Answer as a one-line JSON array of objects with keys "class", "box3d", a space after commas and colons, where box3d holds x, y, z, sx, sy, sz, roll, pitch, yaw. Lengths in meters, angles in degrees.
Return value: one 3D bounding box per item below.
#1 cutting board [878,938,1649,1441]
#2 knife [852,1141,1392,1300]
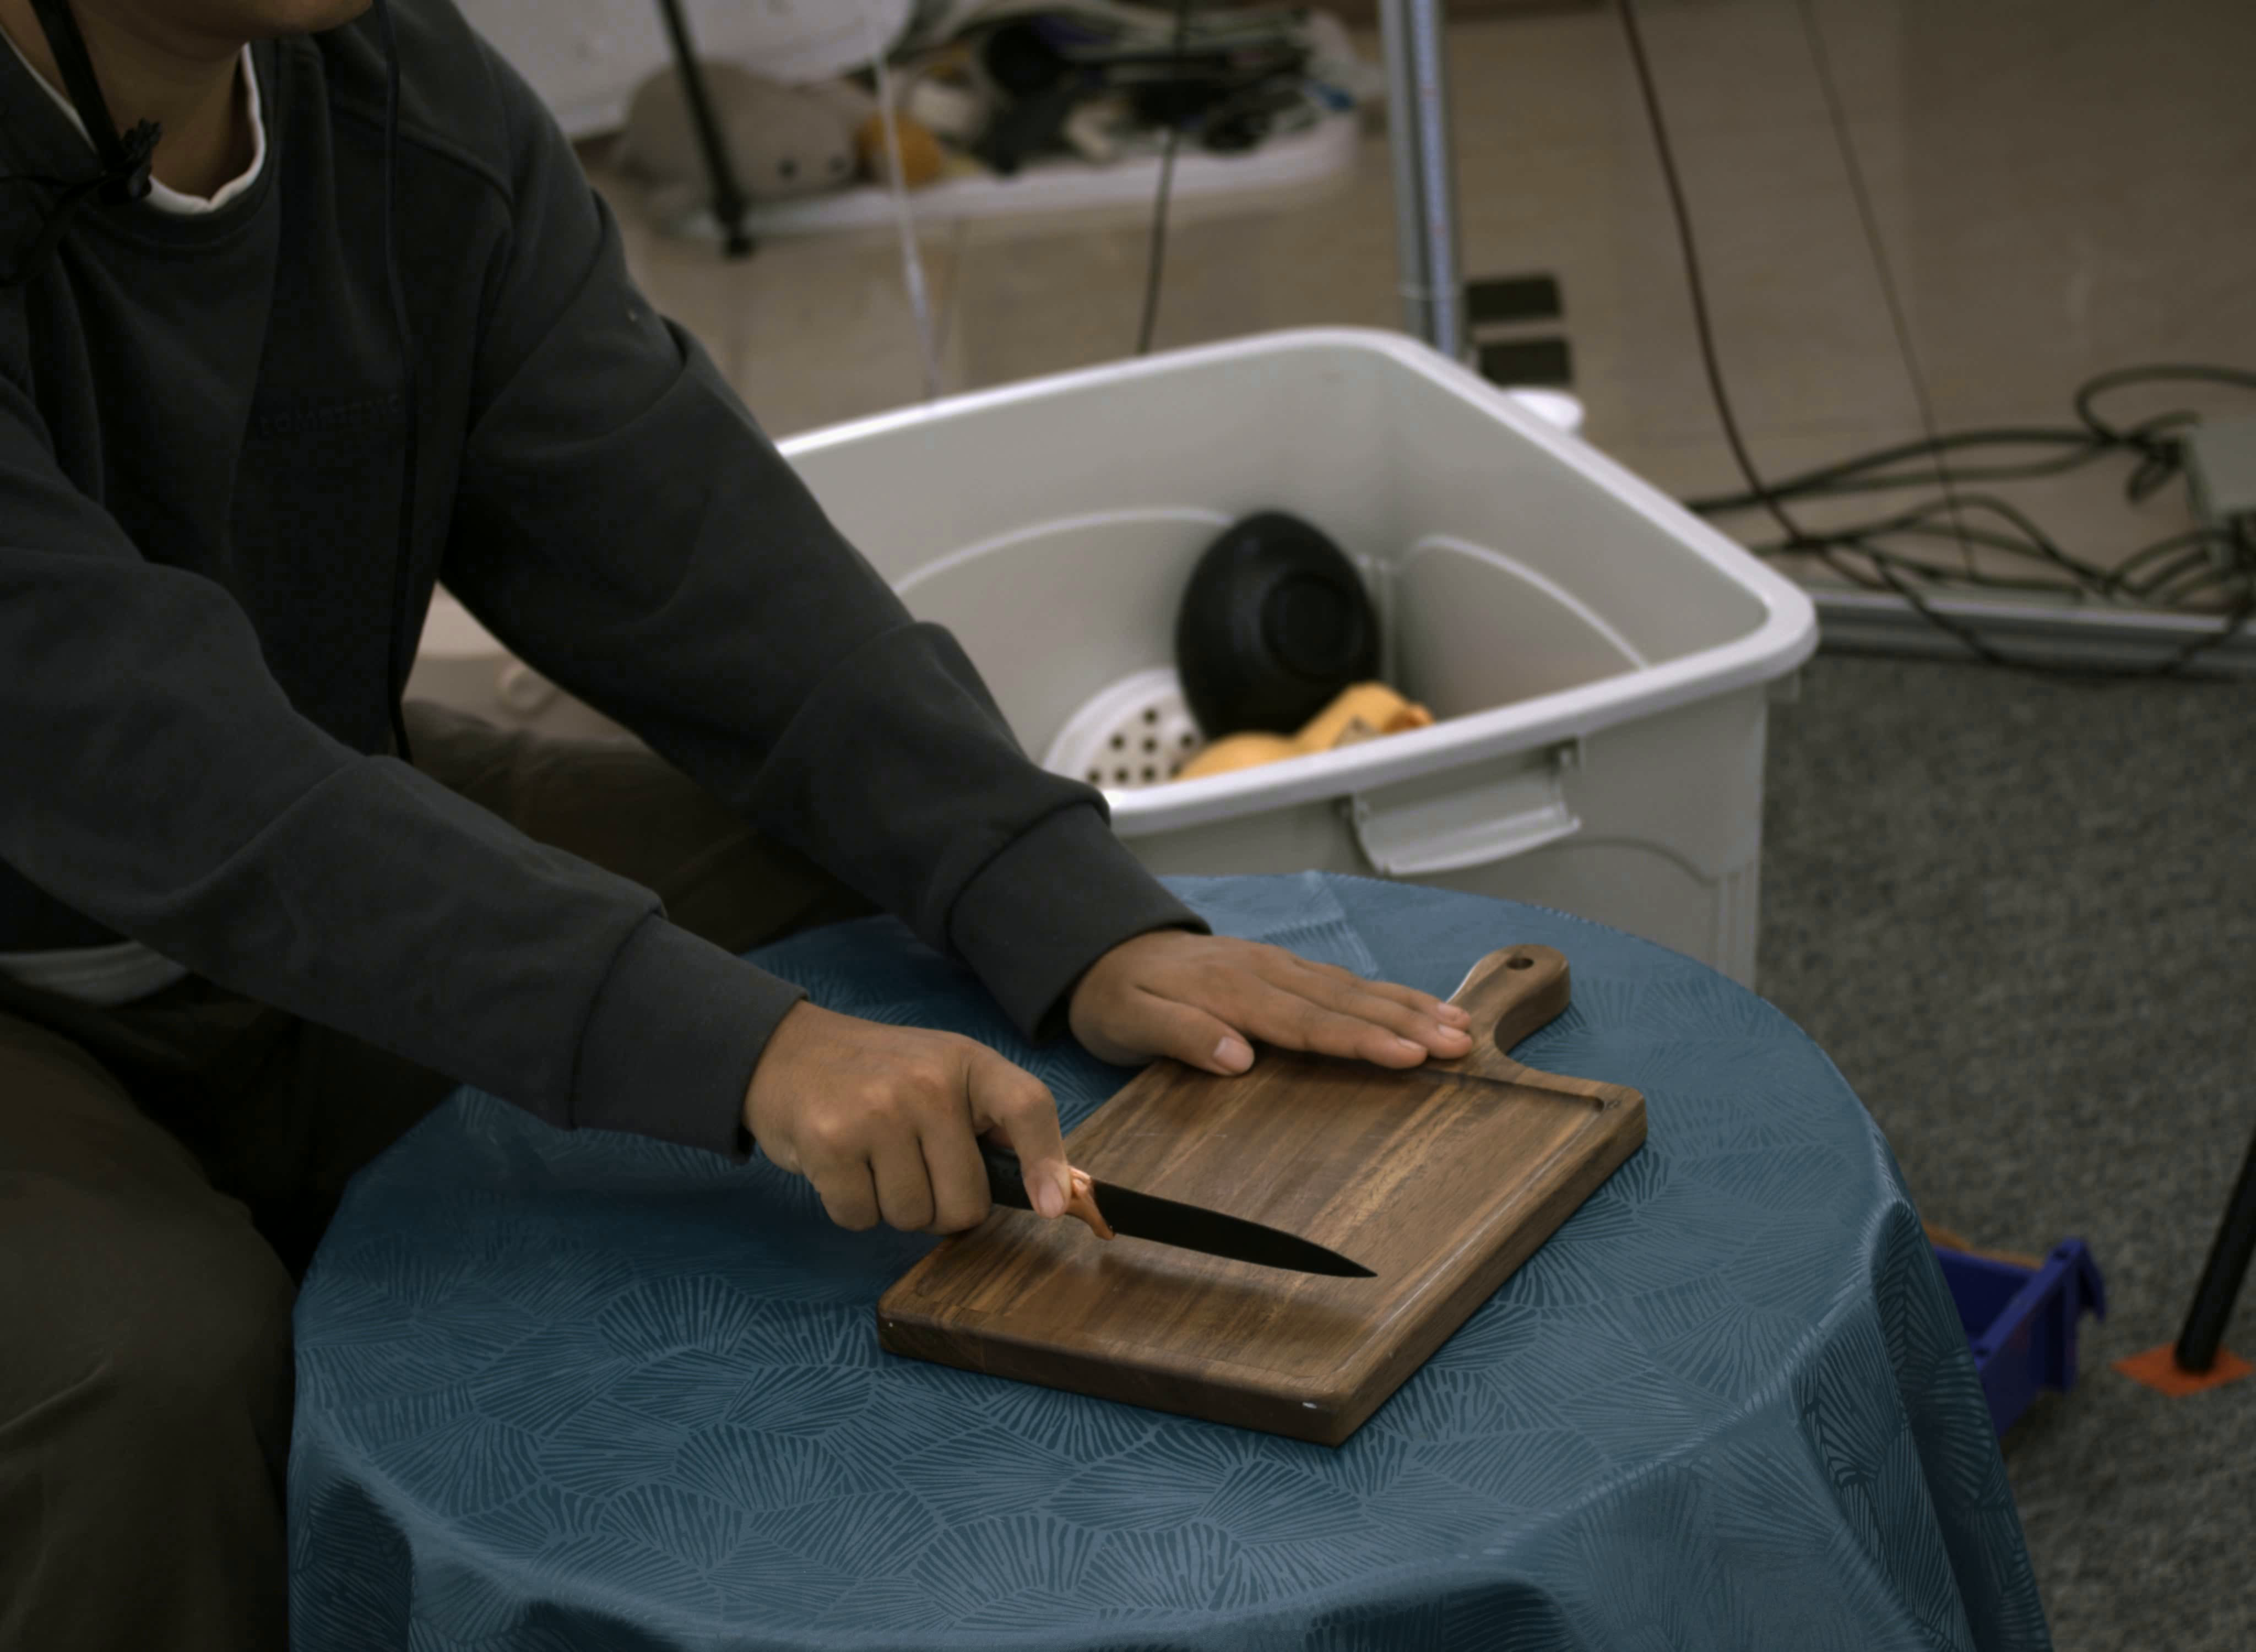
[{"class": "cutting board", "box3d": [0.078, 0.124, 2.135, 0.200, 0.023, 0.348, 9, 29, 30]}, {"class": "knife", "box3d": [-0.004, 0.143, 2.070, 0.224, 0.027, 0.017, 11, 39, 28]}]
